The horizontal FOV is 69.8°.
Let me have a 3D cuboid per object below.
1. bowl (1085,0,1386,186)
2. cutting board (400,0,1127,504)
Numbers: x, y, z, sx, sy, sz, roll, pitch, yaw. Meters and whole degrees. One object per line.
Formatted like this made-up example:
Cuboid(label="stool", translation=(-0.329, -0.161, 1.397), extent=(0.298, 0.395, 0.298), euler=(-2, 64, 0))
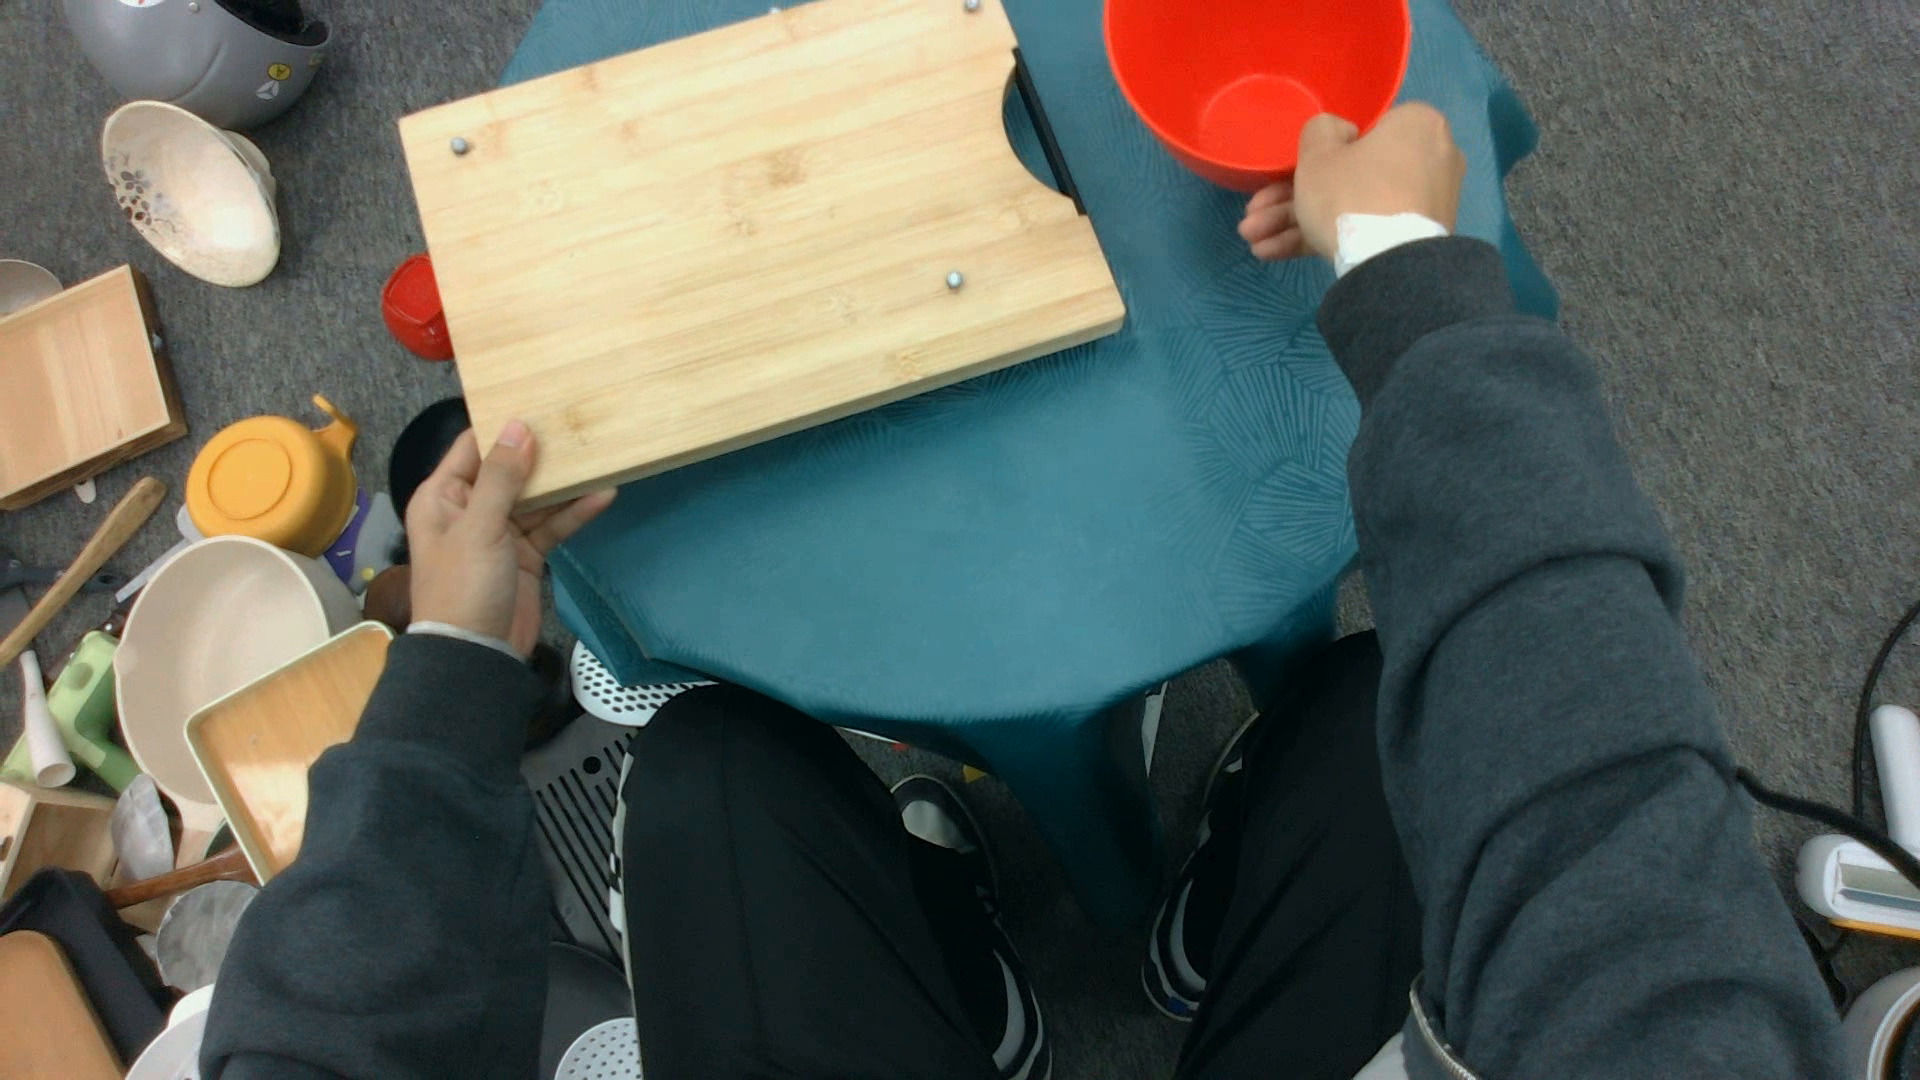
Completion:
Cuboid(label="bowl", translation=(0.140, -0.246, 0.715), extent=(0.148, 0.104, 0.148), euler=(-1, 74, 5))
Cuboid(label="cutting board", translation=(-0.114, -0.179, 0.751), extent=(0.349, 0.023, 0.251), euler=(-18, 73, -7))
